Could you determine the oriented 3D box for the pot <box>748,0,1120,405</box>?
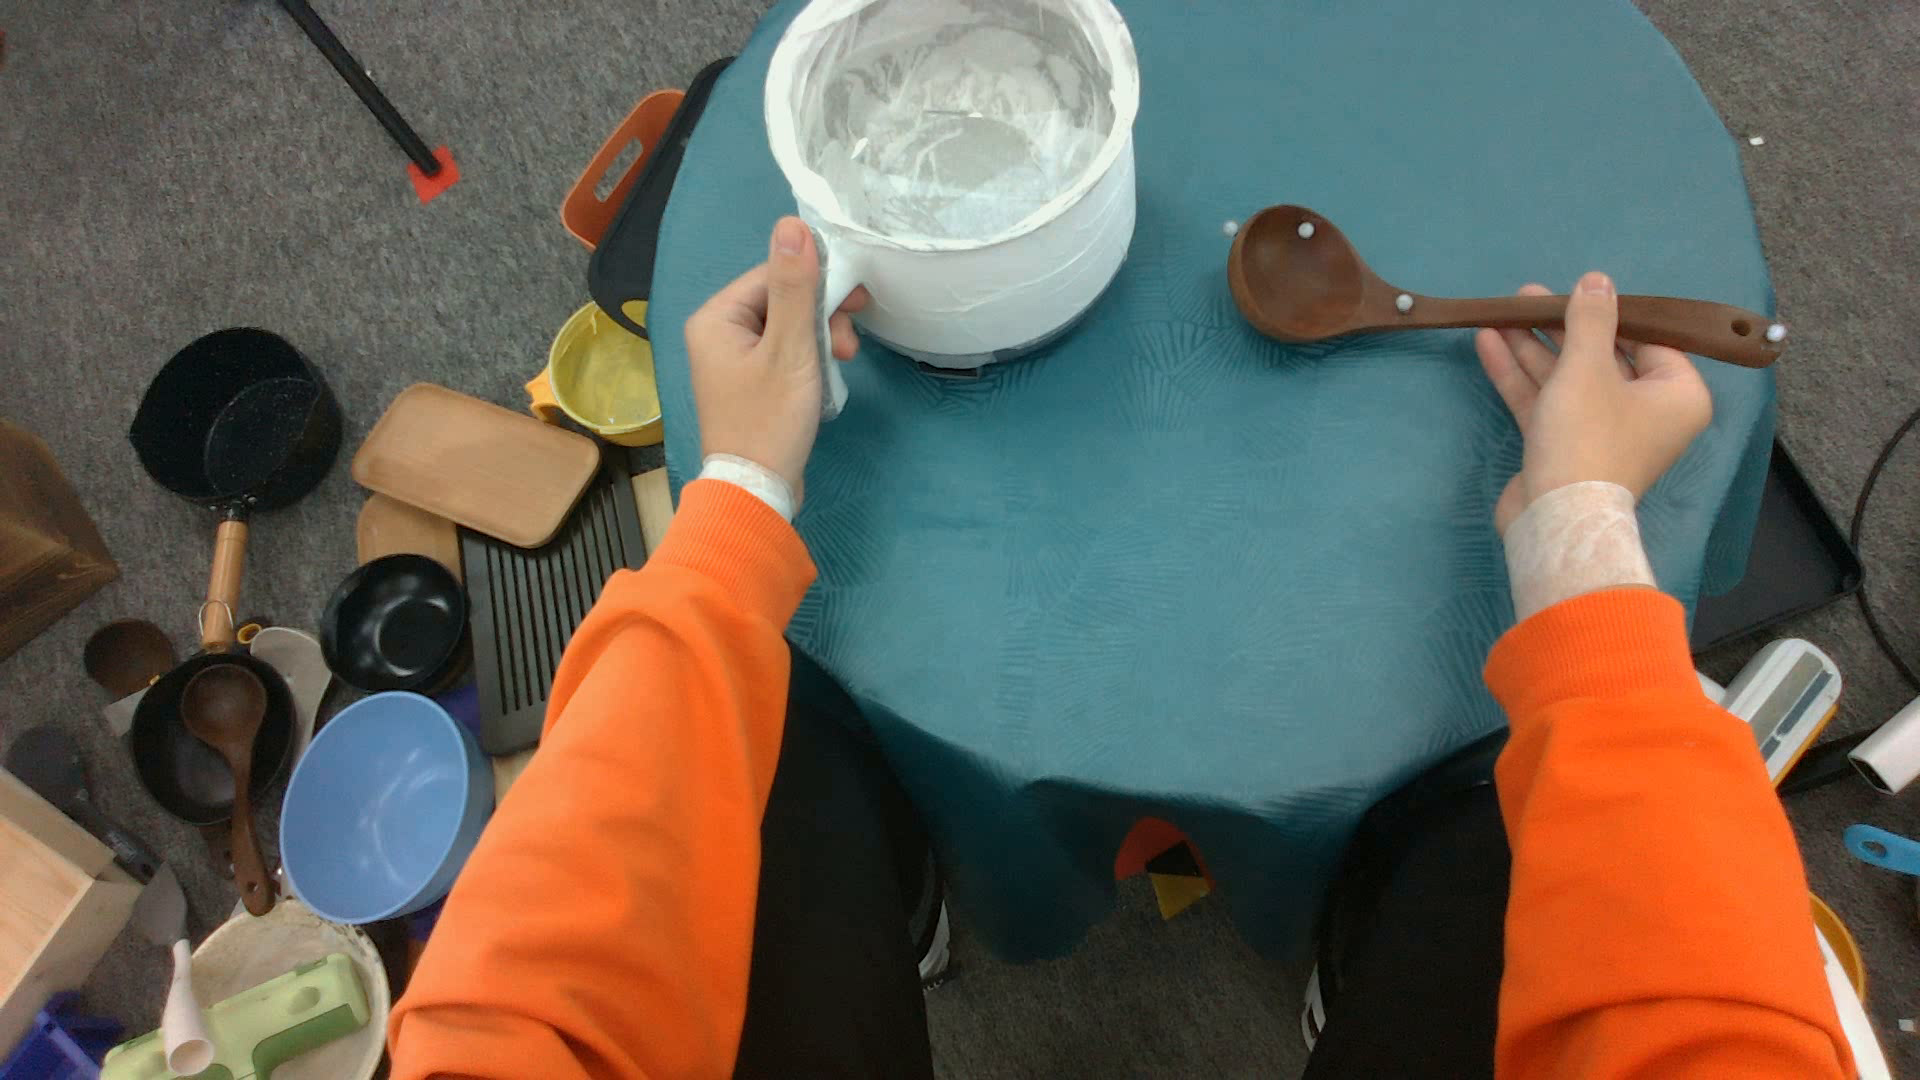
[{"bbox_3d":[-0.023,-0.177,0.699,0.179,0.136,0.234,34,76,17],"label":"pot"}]

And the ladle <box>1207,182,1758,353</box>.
[{"bbox_3d":[0.251,-0.130,0.678,0.260,0.065,0.077,11,74,22],"label":"ladle"}]
